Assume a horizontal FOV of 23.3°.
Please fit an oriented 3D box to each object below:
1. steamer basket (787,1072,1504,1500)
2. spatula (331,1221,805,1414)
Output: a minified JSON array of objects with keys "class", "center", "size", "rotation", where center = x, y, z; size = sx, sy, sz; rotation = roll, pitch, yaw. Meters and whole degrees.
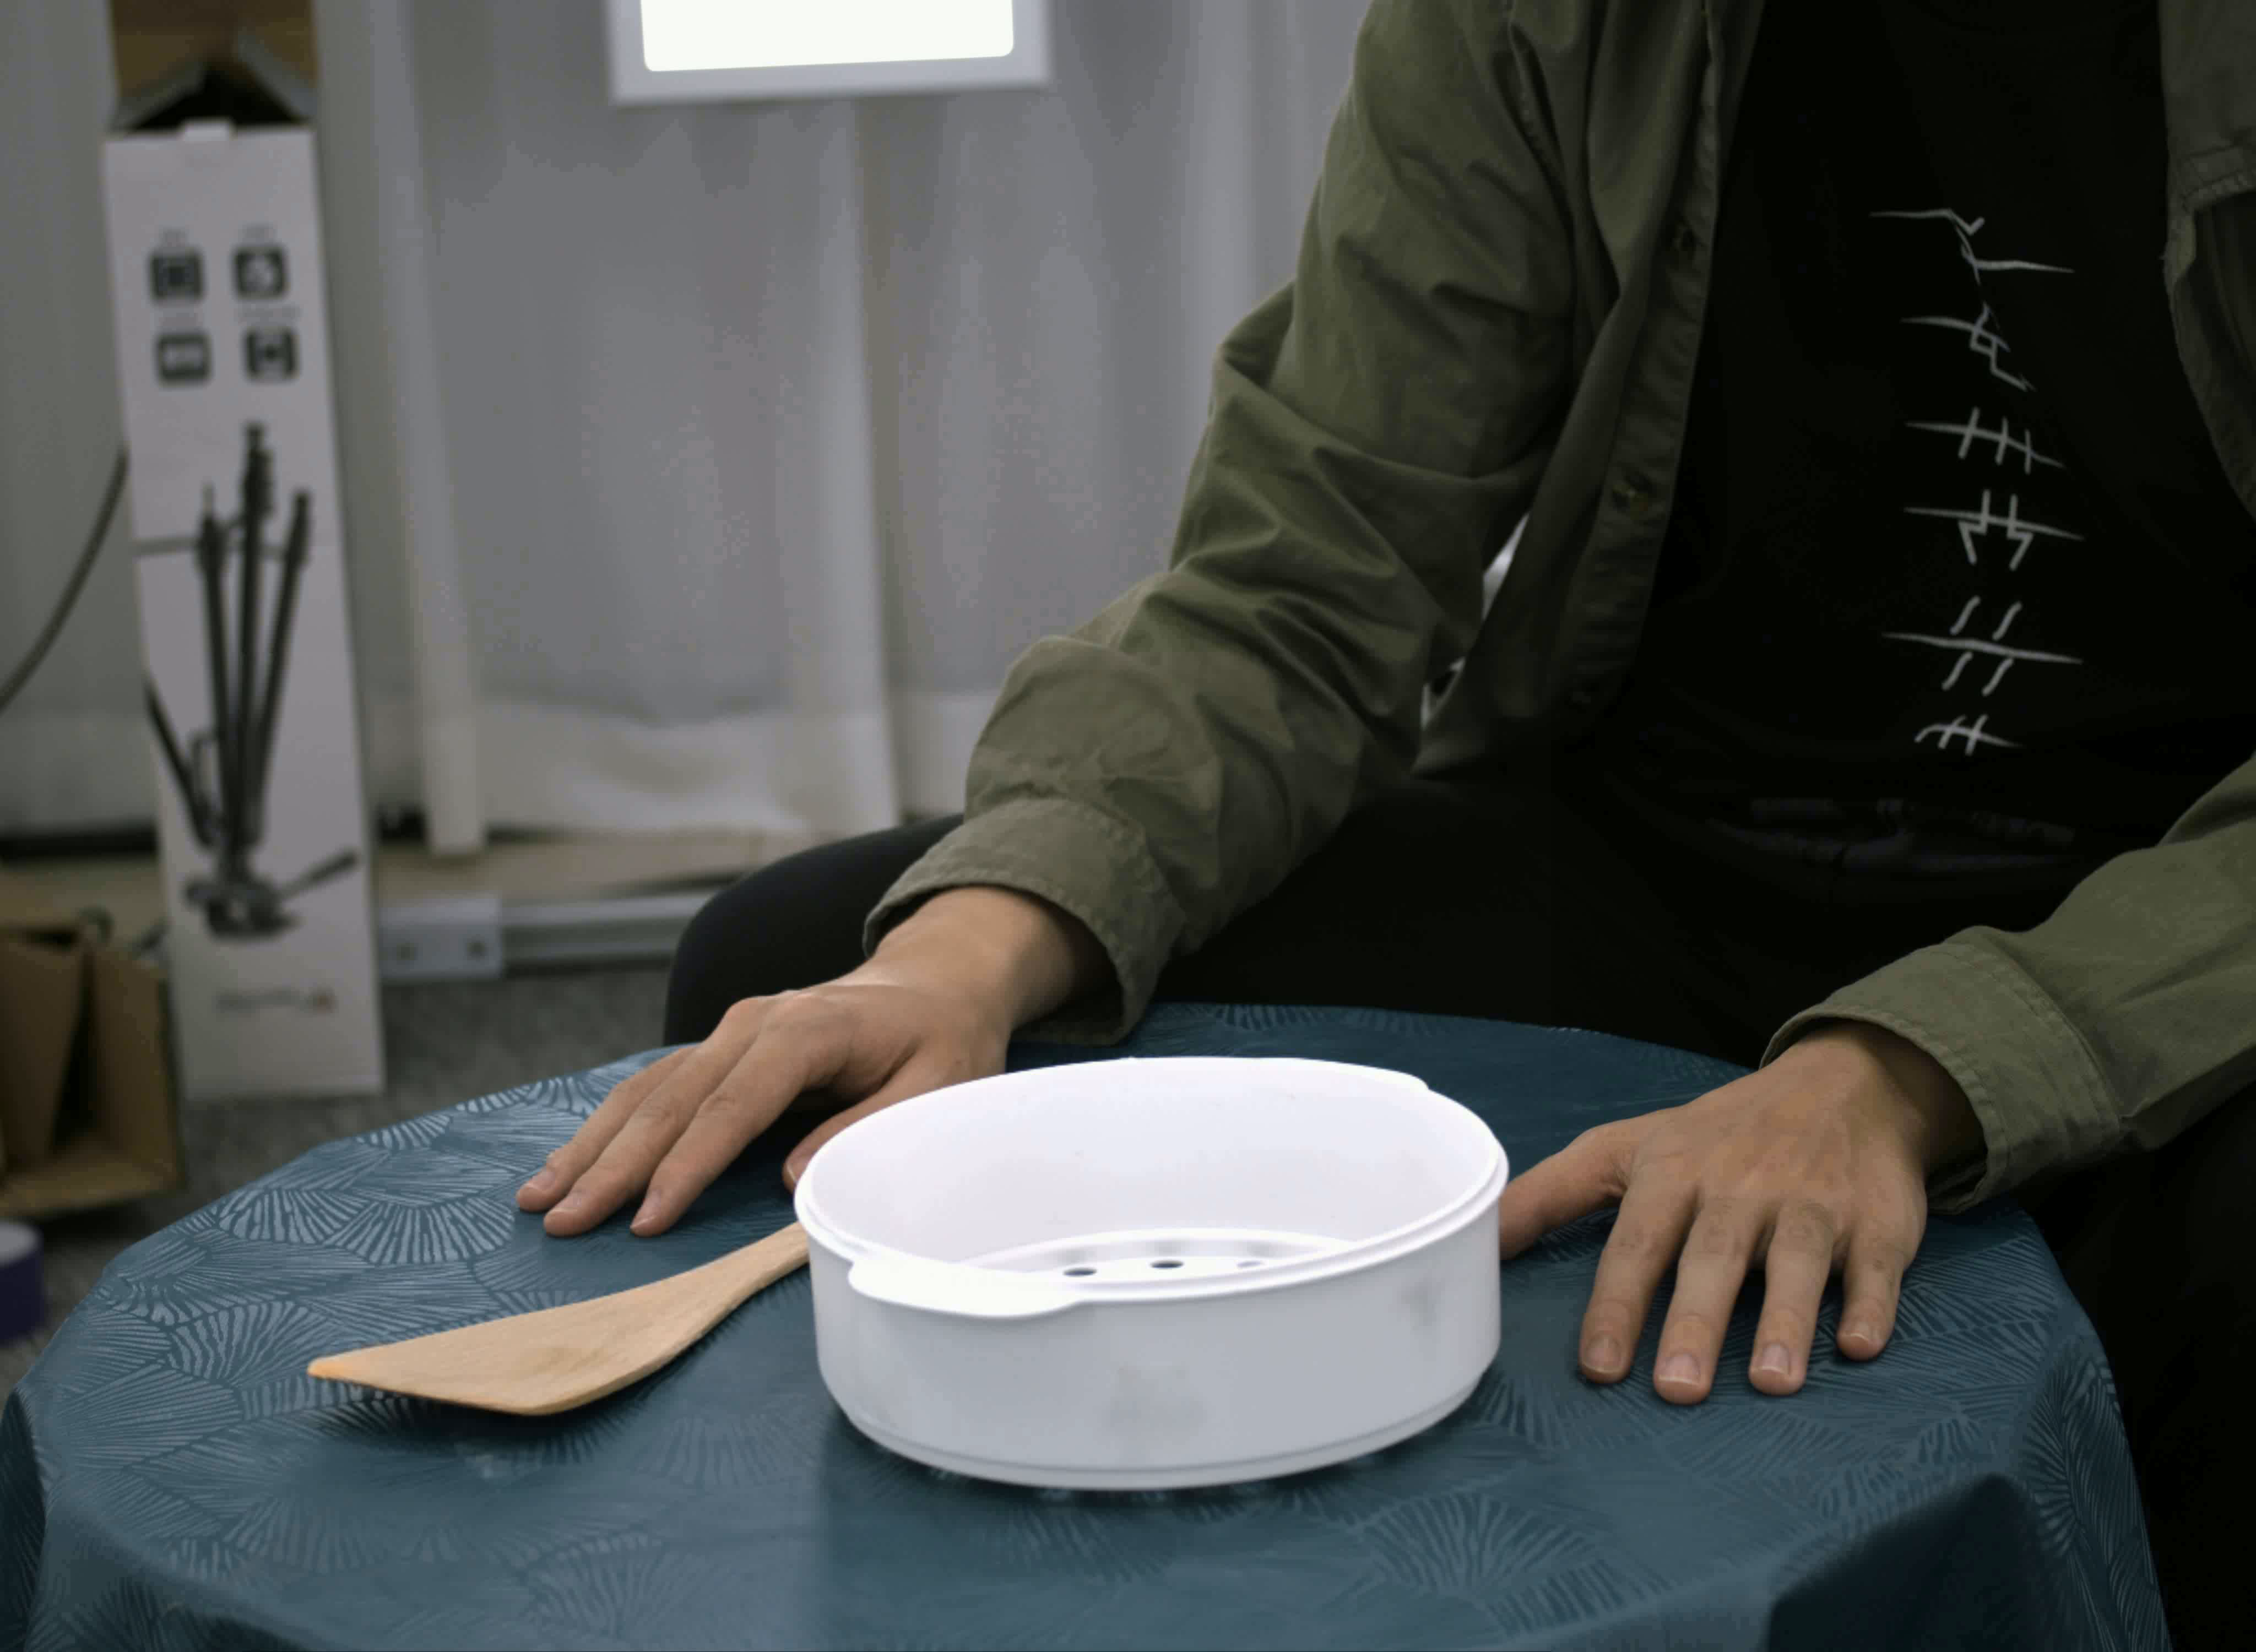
[{"class":"steamer basket","center":[0.005,0.129,1.538],"size":[0.202,0.069,0.230],"rotation":[7,16,32]},{"class":"spatula","center":[-0.103,0.126,1.661],"size":[0.080,0.016,0.327],"rotation":[8,19,35]}]
